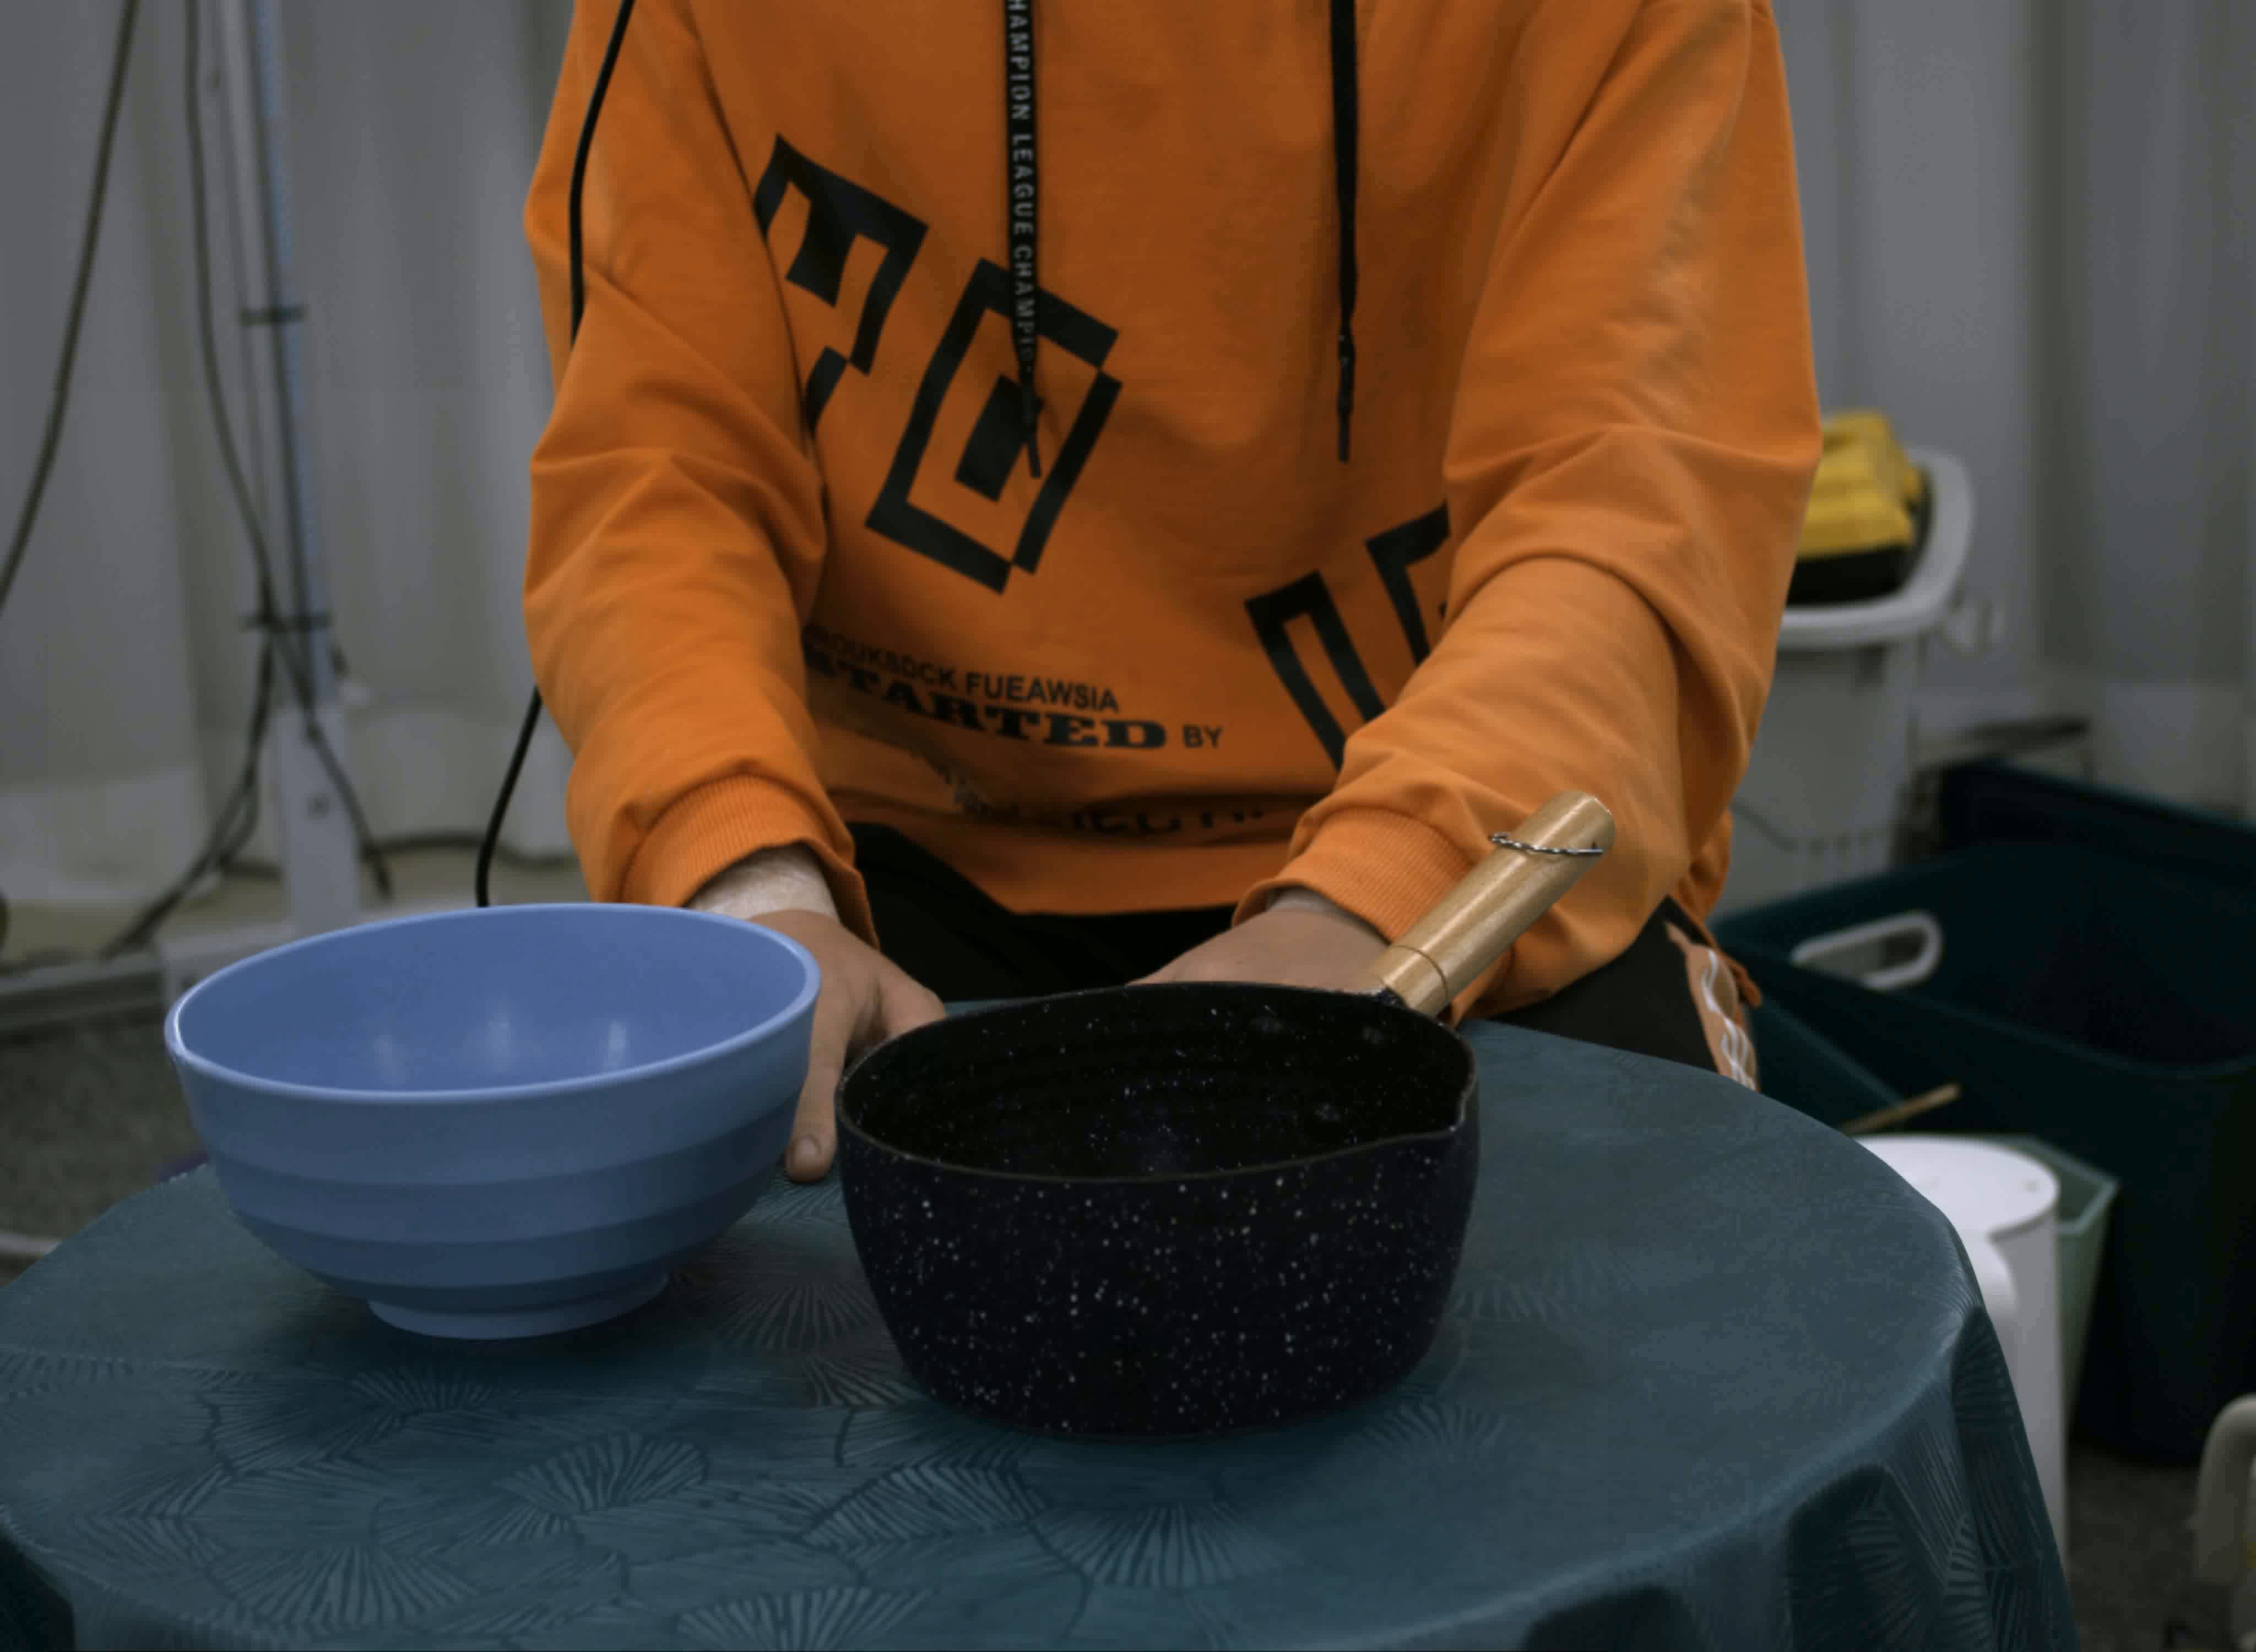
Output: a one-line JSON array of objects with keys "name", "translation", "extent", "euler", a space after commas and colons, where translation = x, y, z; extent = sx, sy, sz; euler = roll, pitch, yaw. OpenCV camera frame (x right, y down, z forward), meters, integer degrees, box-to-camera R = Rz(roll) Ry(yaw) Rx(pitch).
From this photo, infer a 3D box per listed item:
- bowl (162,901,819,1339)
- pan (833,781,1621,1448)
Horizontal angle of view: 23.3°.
[{"name": "bowl", "translation": [-0.187, 0.094, 1.645], "extent": [0.196, 0.095, 0.198], "euler": [-4, 15, 1]}, {"name": "pan", "translation": [0.054, 0.081, 1.625], "extent": [0.208, 0.108, 0.343], "euler": [5, 18, 34]}]
